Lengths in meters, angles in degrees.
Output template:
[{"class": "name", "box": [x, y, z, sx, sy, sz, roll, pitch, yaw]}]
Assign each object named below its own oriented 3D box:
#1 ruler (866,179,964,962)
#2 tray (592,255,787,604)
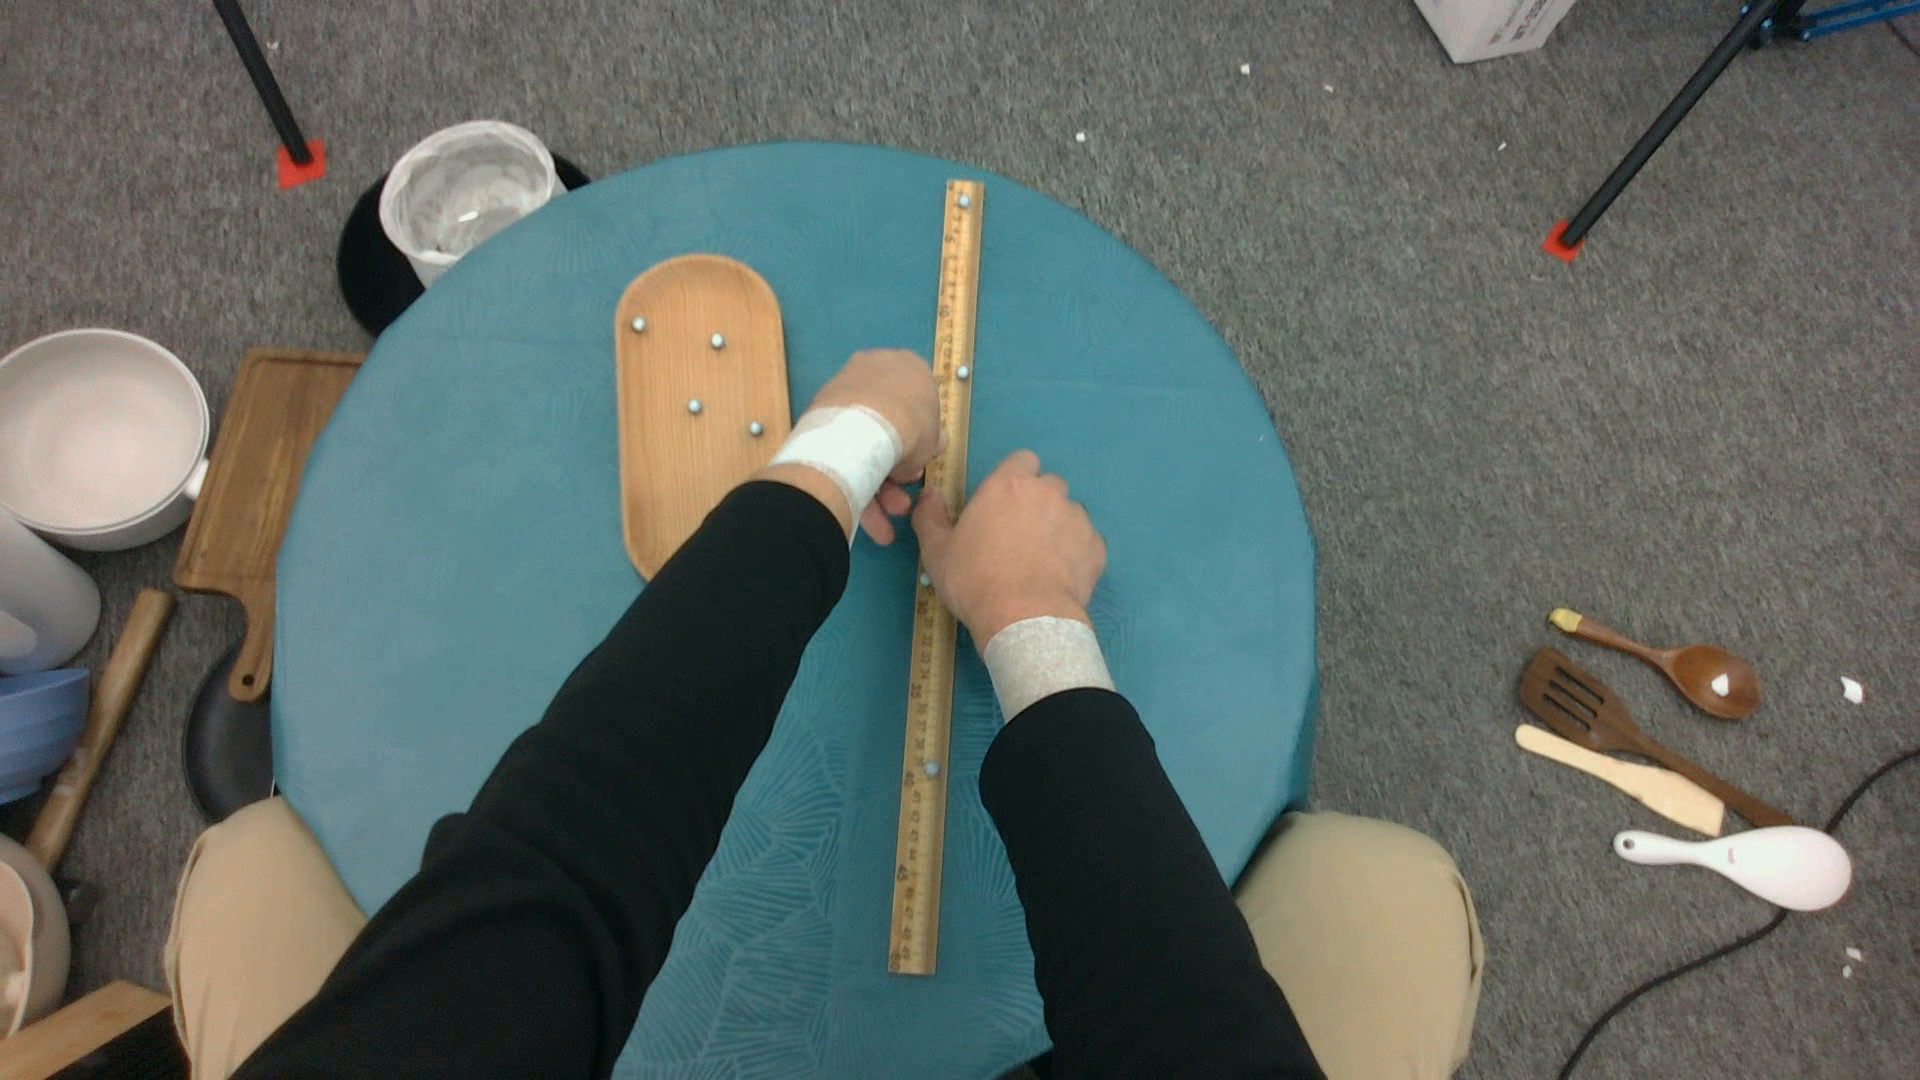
[{"class": "ruler", "box": [-0.024, -0.010, 0.816, 0.027, 0.006, 0.502, 2, 66, 3]}, {"class": "tray", "box": [-0.163, -0.070, 0.822, 0.102, 0.020, 0.232, -8, 69, -7]}]
